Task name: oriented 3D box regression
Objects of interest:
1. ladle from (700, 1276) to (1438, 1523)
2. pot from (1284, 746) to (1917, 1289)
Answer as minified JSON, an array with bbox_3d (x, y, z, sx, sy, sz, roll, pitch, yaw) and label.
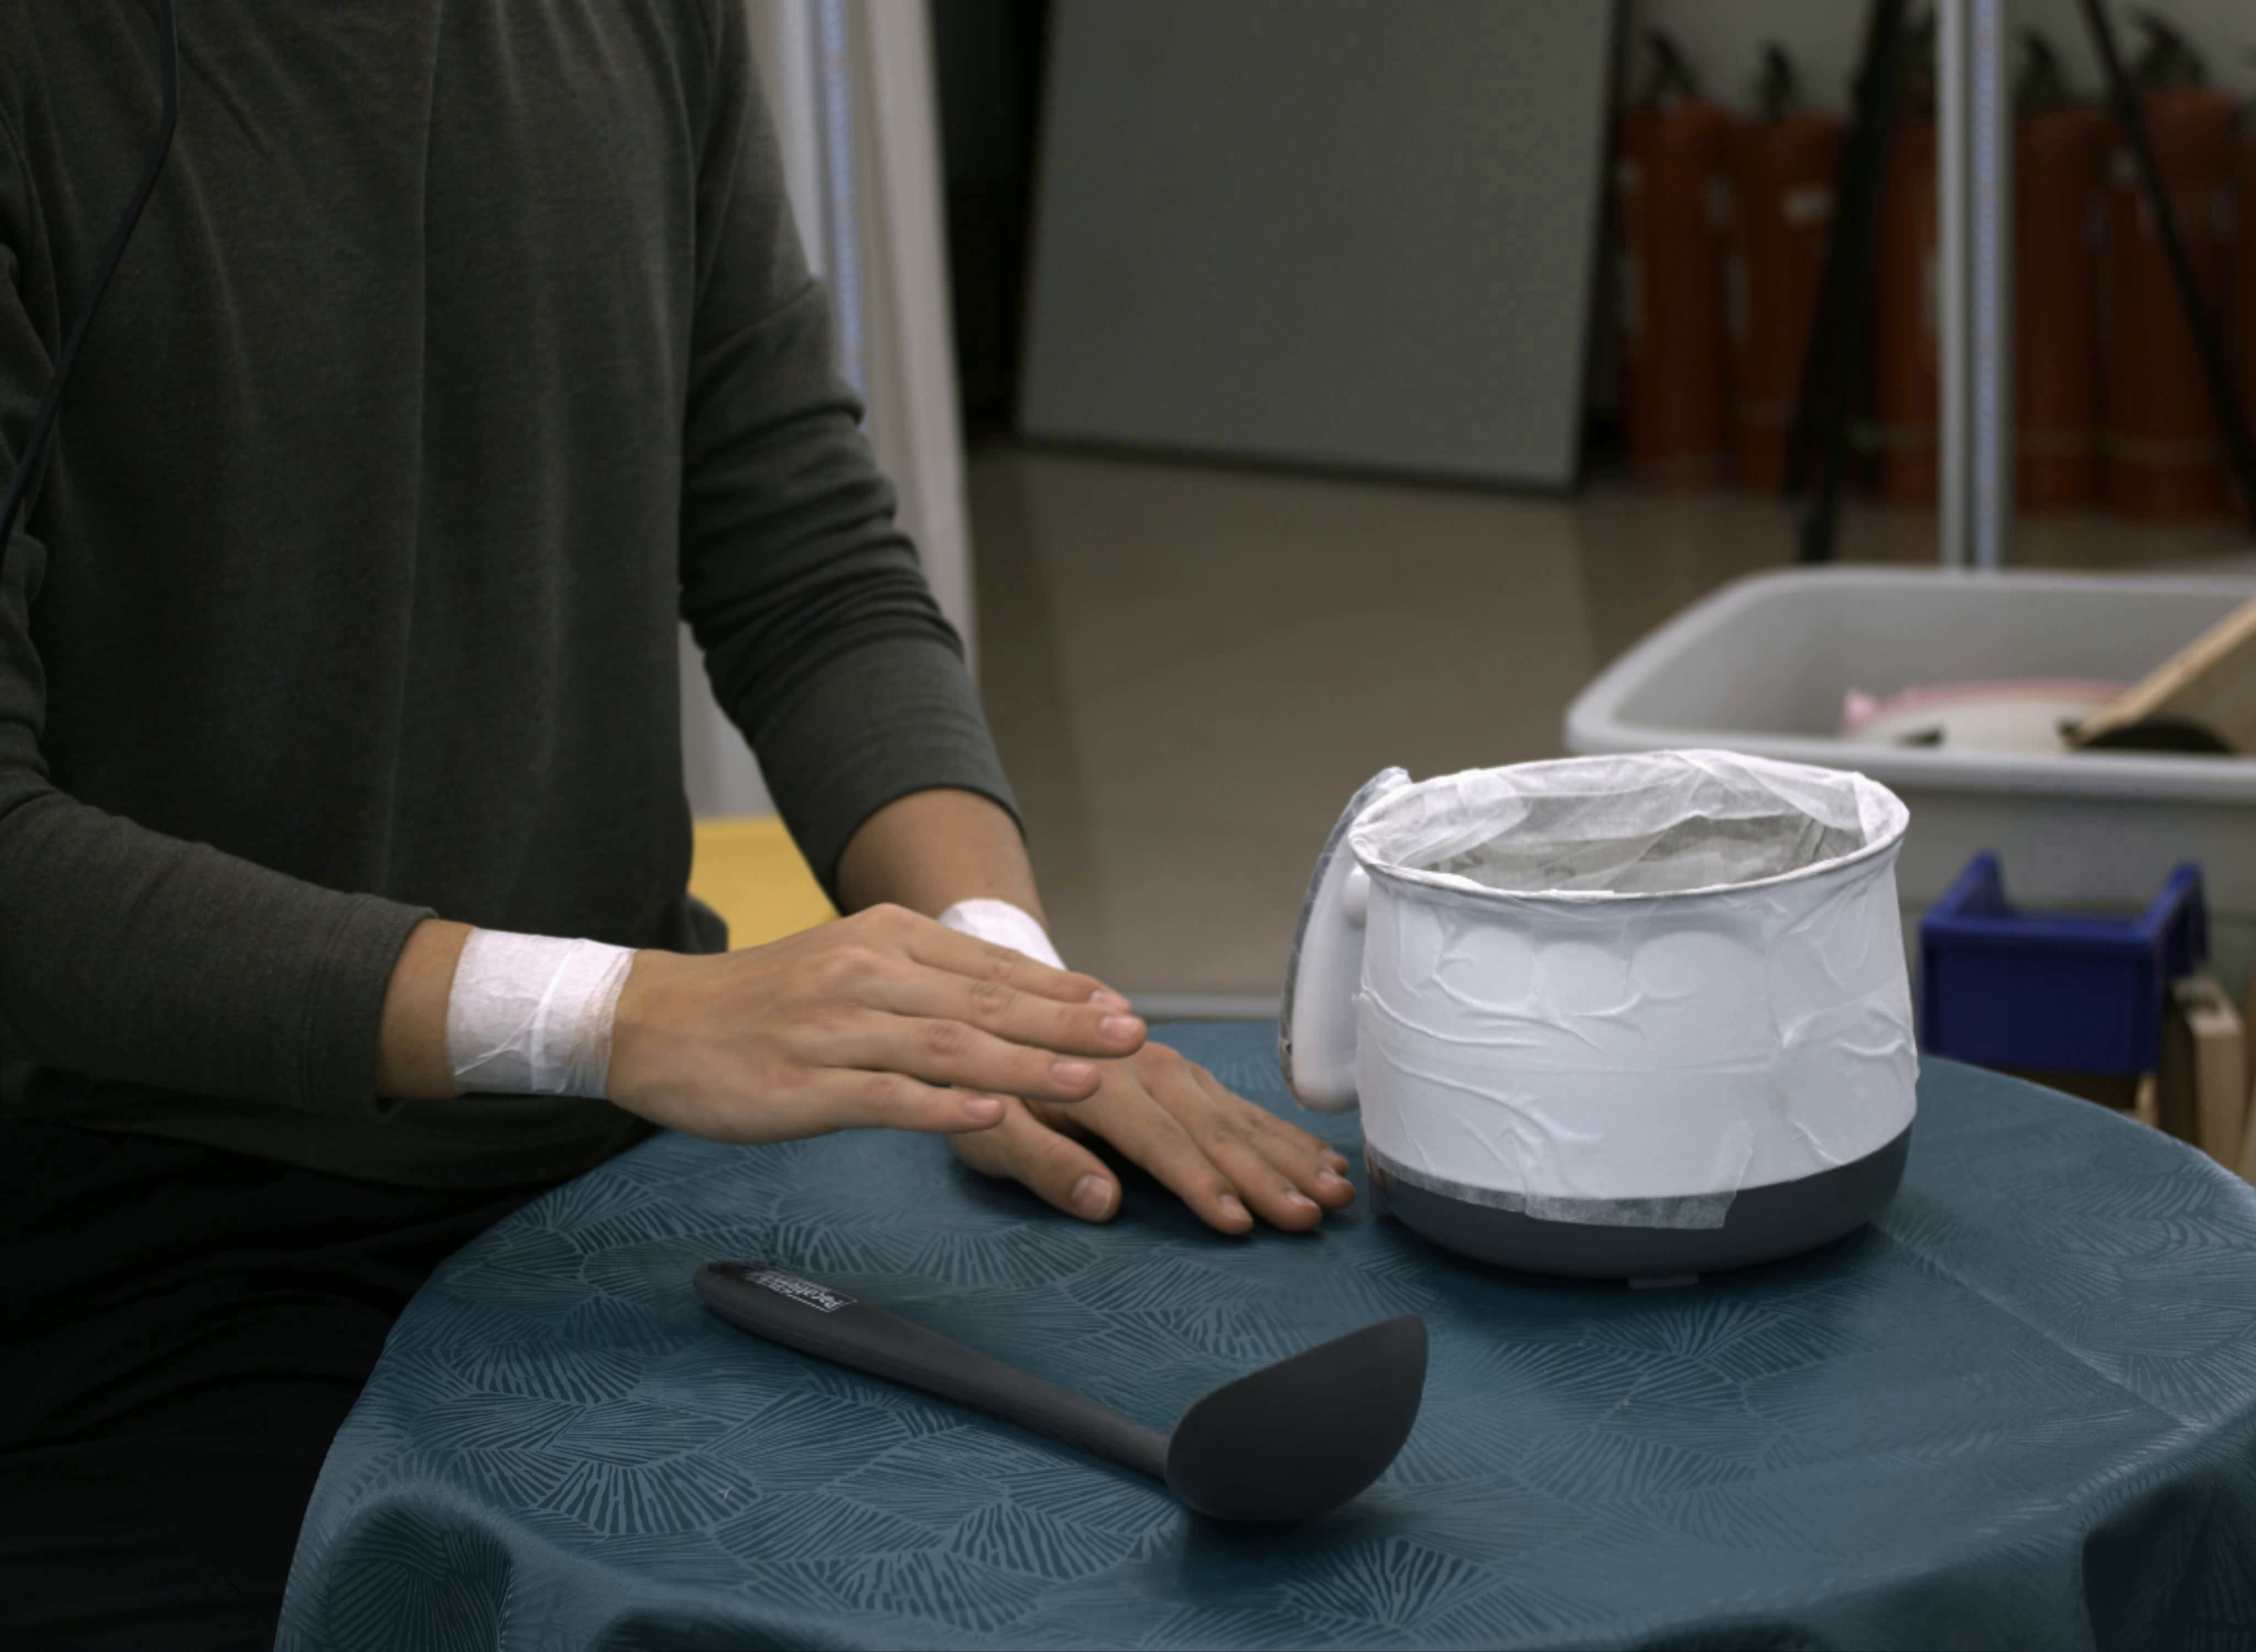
[{"bbox_3d":[-0.032,0.144,1.557,0.084,0.065,0.317,-10,14,-37],"label":"ladle"},{"bbox_3d":[0.140,0.055,1.715,0.236,0.138,0.175,9,18,44],"label":"pot"}]
